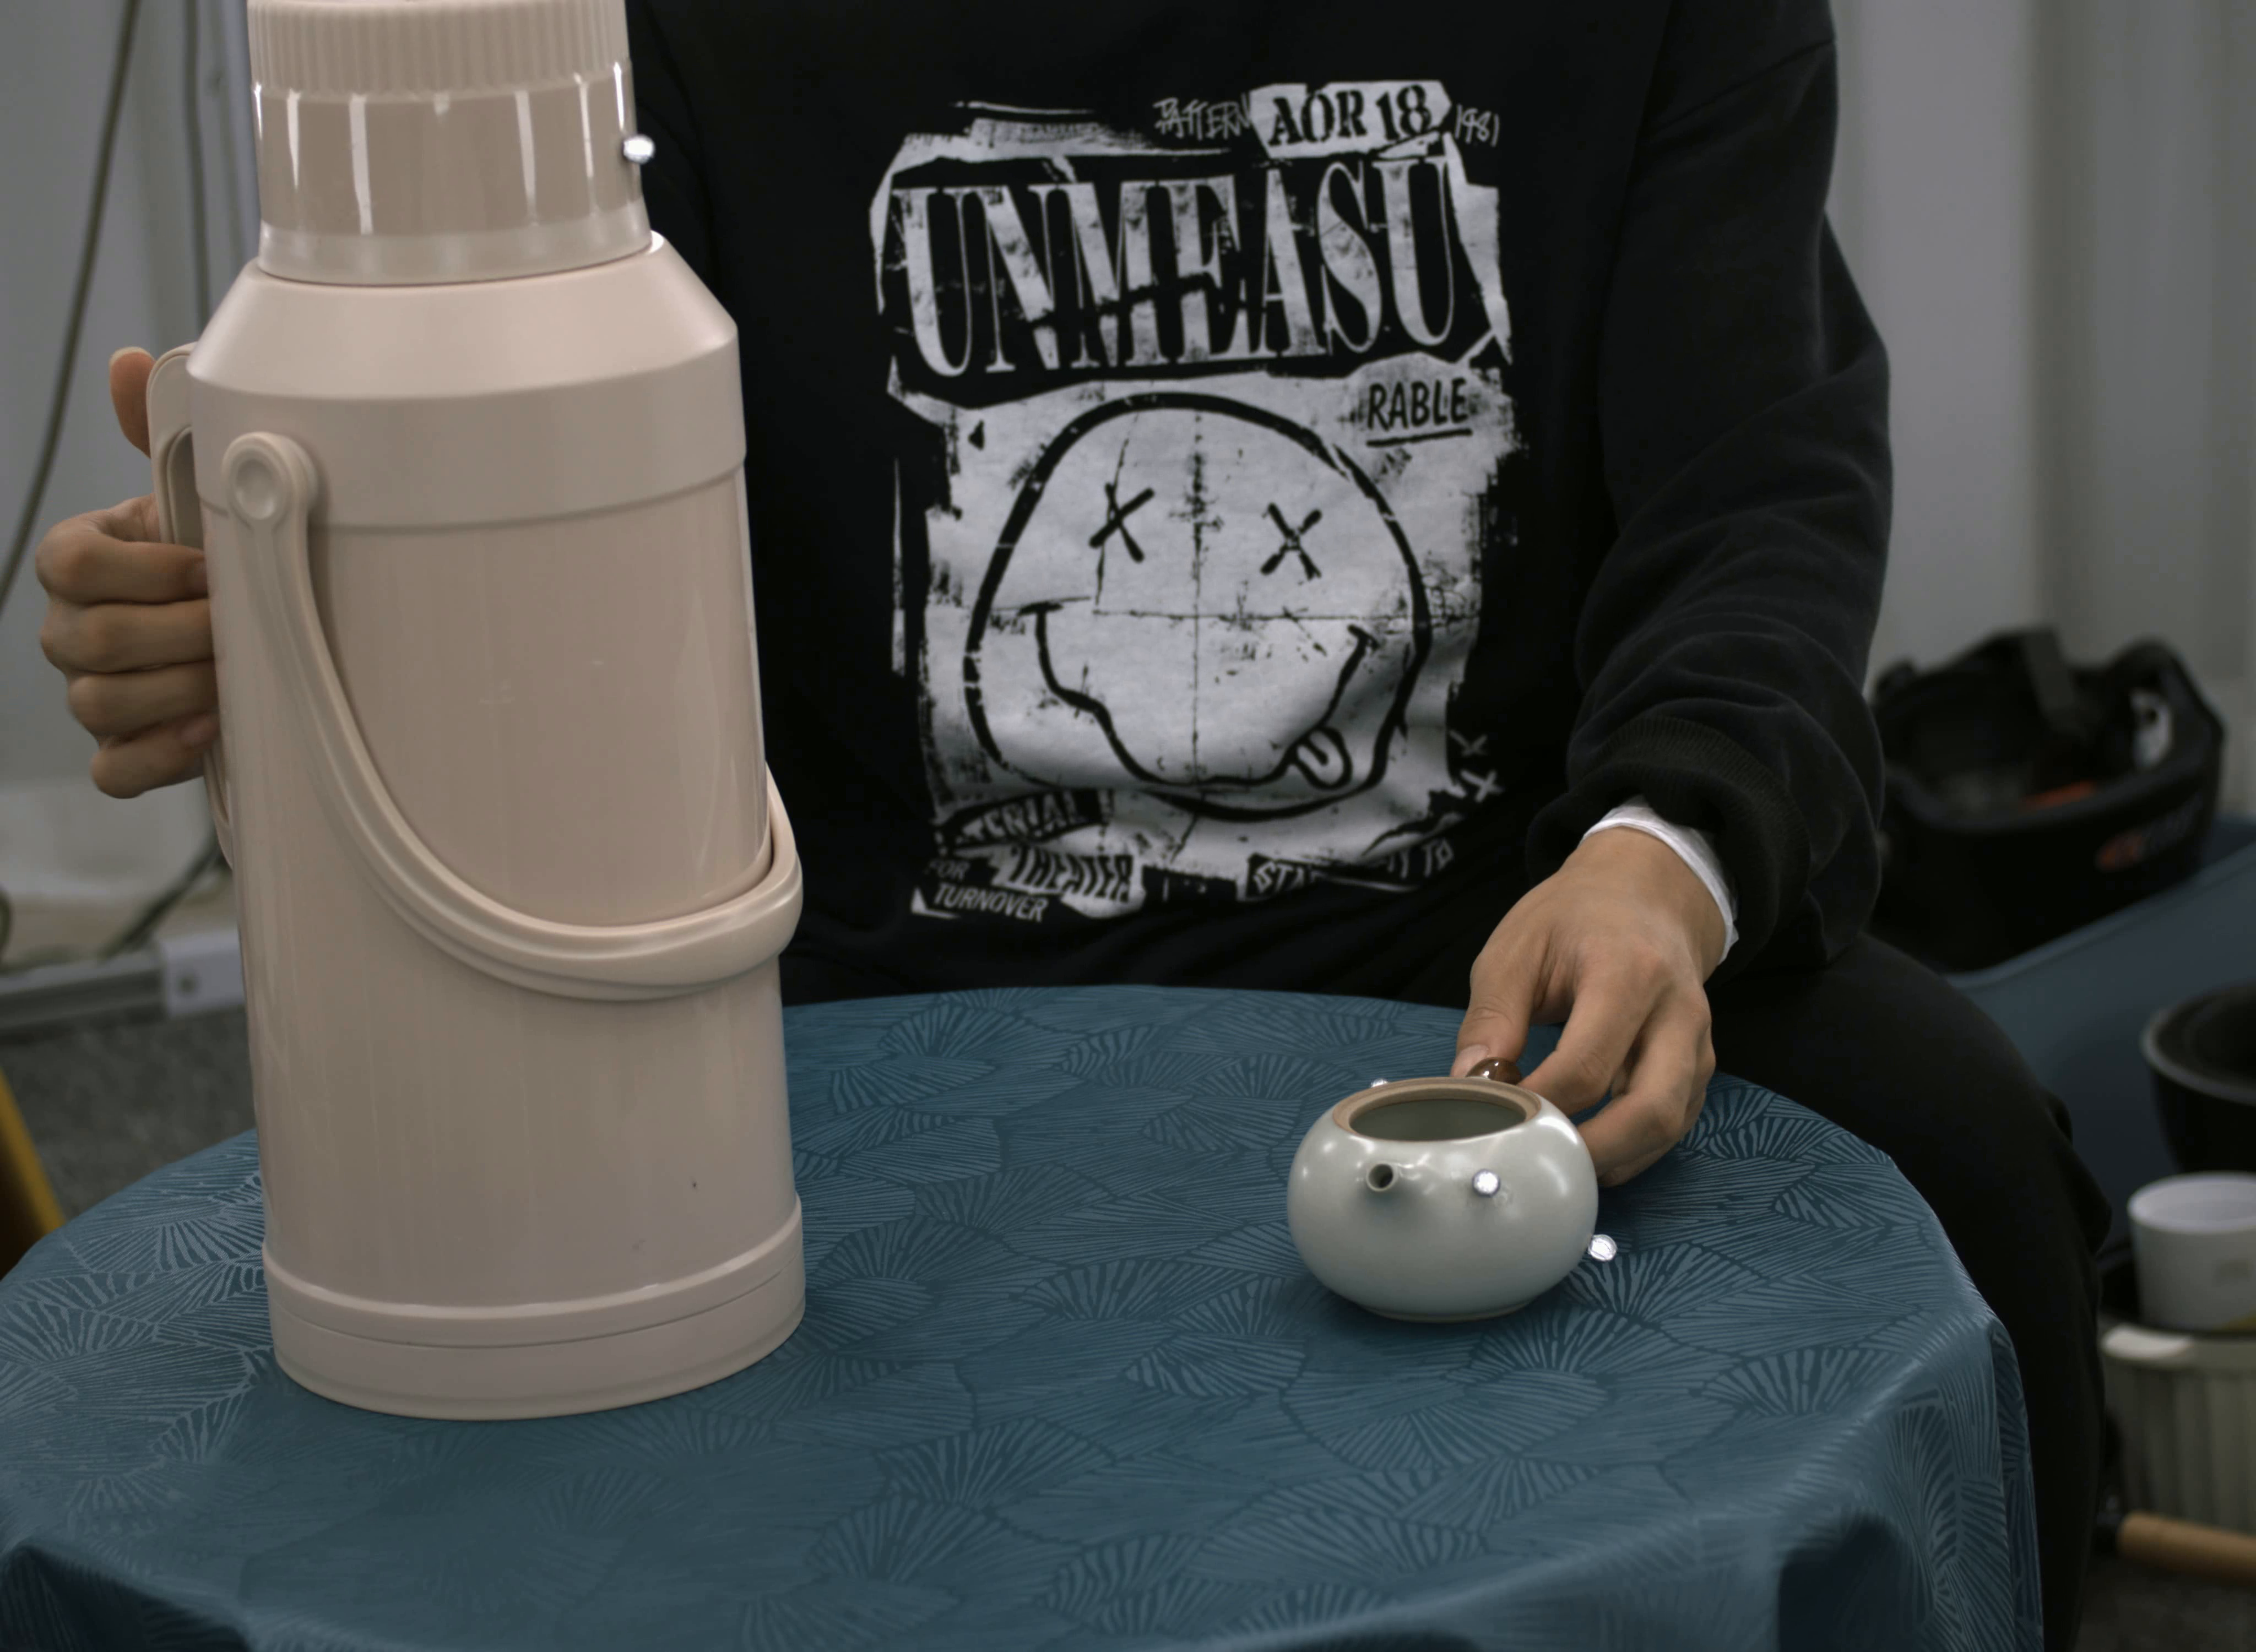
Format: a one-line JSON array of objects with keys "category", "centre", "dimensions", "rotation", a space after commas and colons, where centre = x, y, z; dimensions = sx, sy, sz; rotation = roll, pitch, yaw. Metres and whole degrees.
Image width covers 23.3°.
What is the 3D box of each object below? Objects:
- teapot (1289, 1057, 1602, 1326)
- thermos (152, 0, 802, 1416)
[{"category": "teapot", "centre": [0.096, 0.107, 1.610], "dimensions": [0.092, 0.059, 0.128], "rotation": [-1, 15, 21]}, {"category": "thermos", "centre": [-0.194, -0.045, 1.587], "dimensions": [0.208, 0.404, 0.175], "rotation": [7, 18, 33]}]
